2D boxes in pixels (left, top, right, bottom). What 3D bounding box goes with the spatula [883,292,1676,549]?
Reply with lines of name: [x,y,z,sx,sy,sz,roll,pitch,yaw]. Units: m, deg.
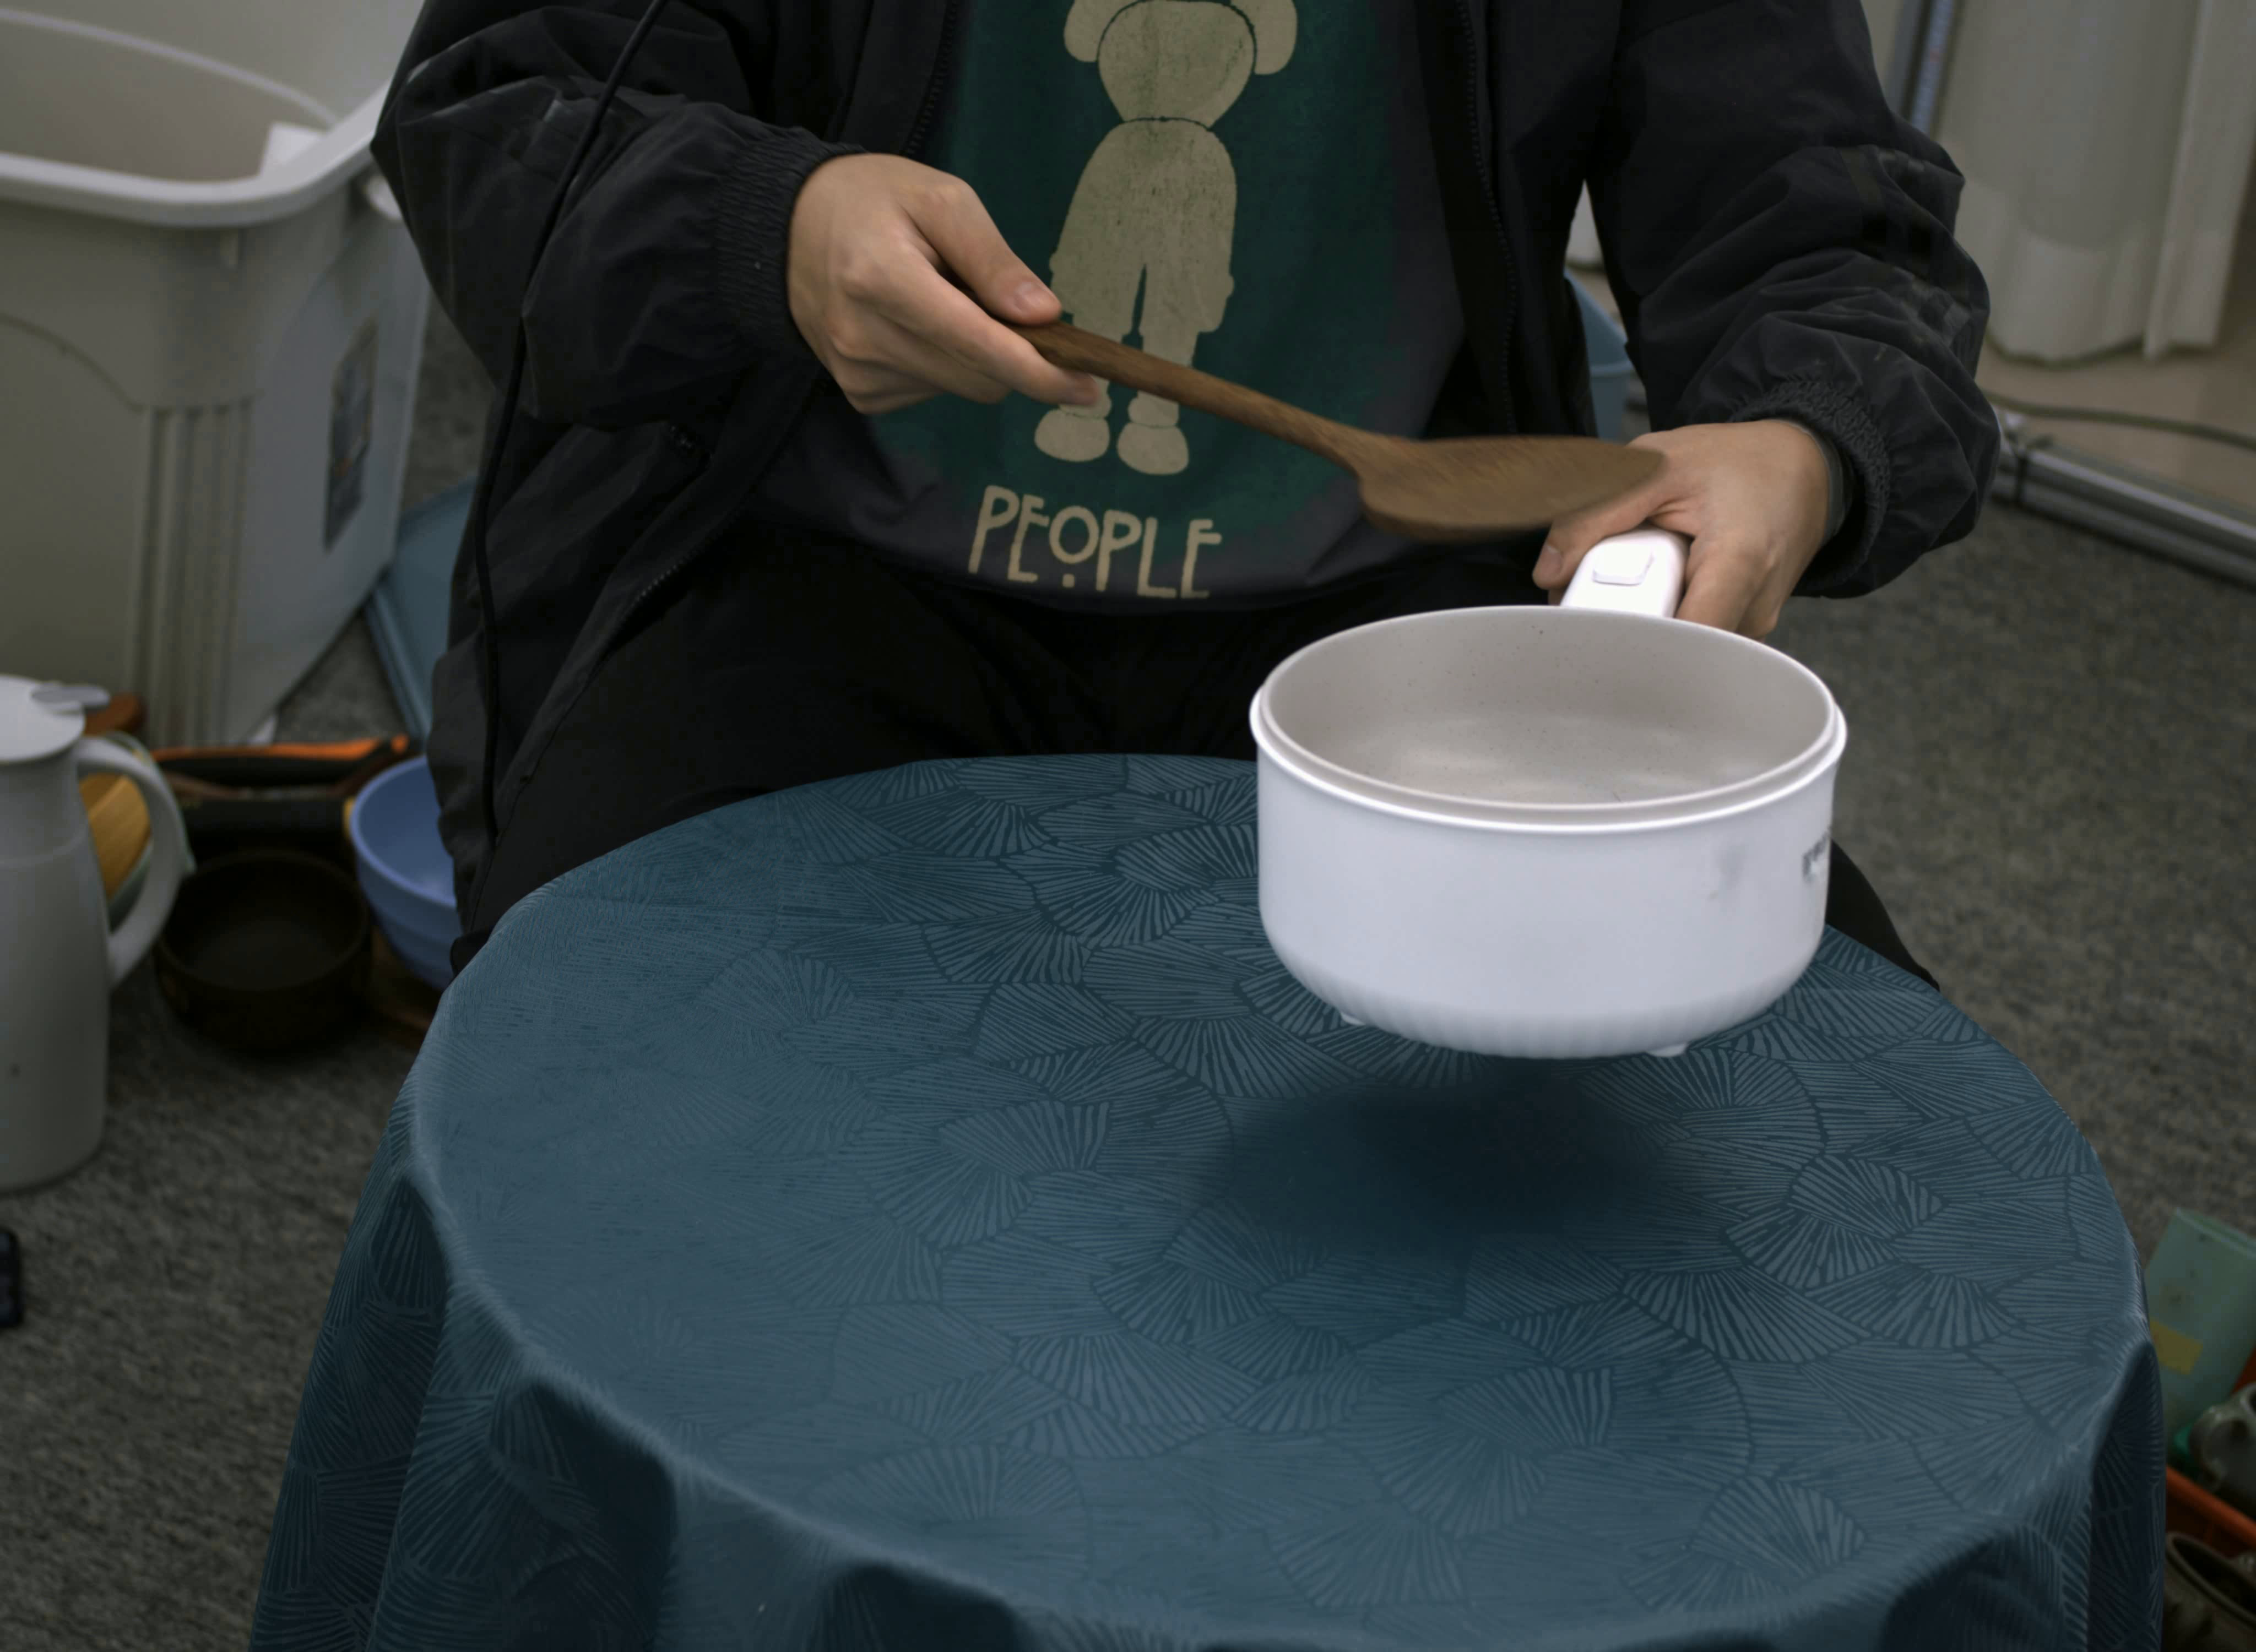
spatula: [0.034,-0.149,1.893,0.095,0.016,0.389,-23,30,-34]

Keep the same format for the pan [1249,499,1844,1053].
pan: [0.161,-0.021,1.883,0.201,0.102,0.355,4,20,14]
